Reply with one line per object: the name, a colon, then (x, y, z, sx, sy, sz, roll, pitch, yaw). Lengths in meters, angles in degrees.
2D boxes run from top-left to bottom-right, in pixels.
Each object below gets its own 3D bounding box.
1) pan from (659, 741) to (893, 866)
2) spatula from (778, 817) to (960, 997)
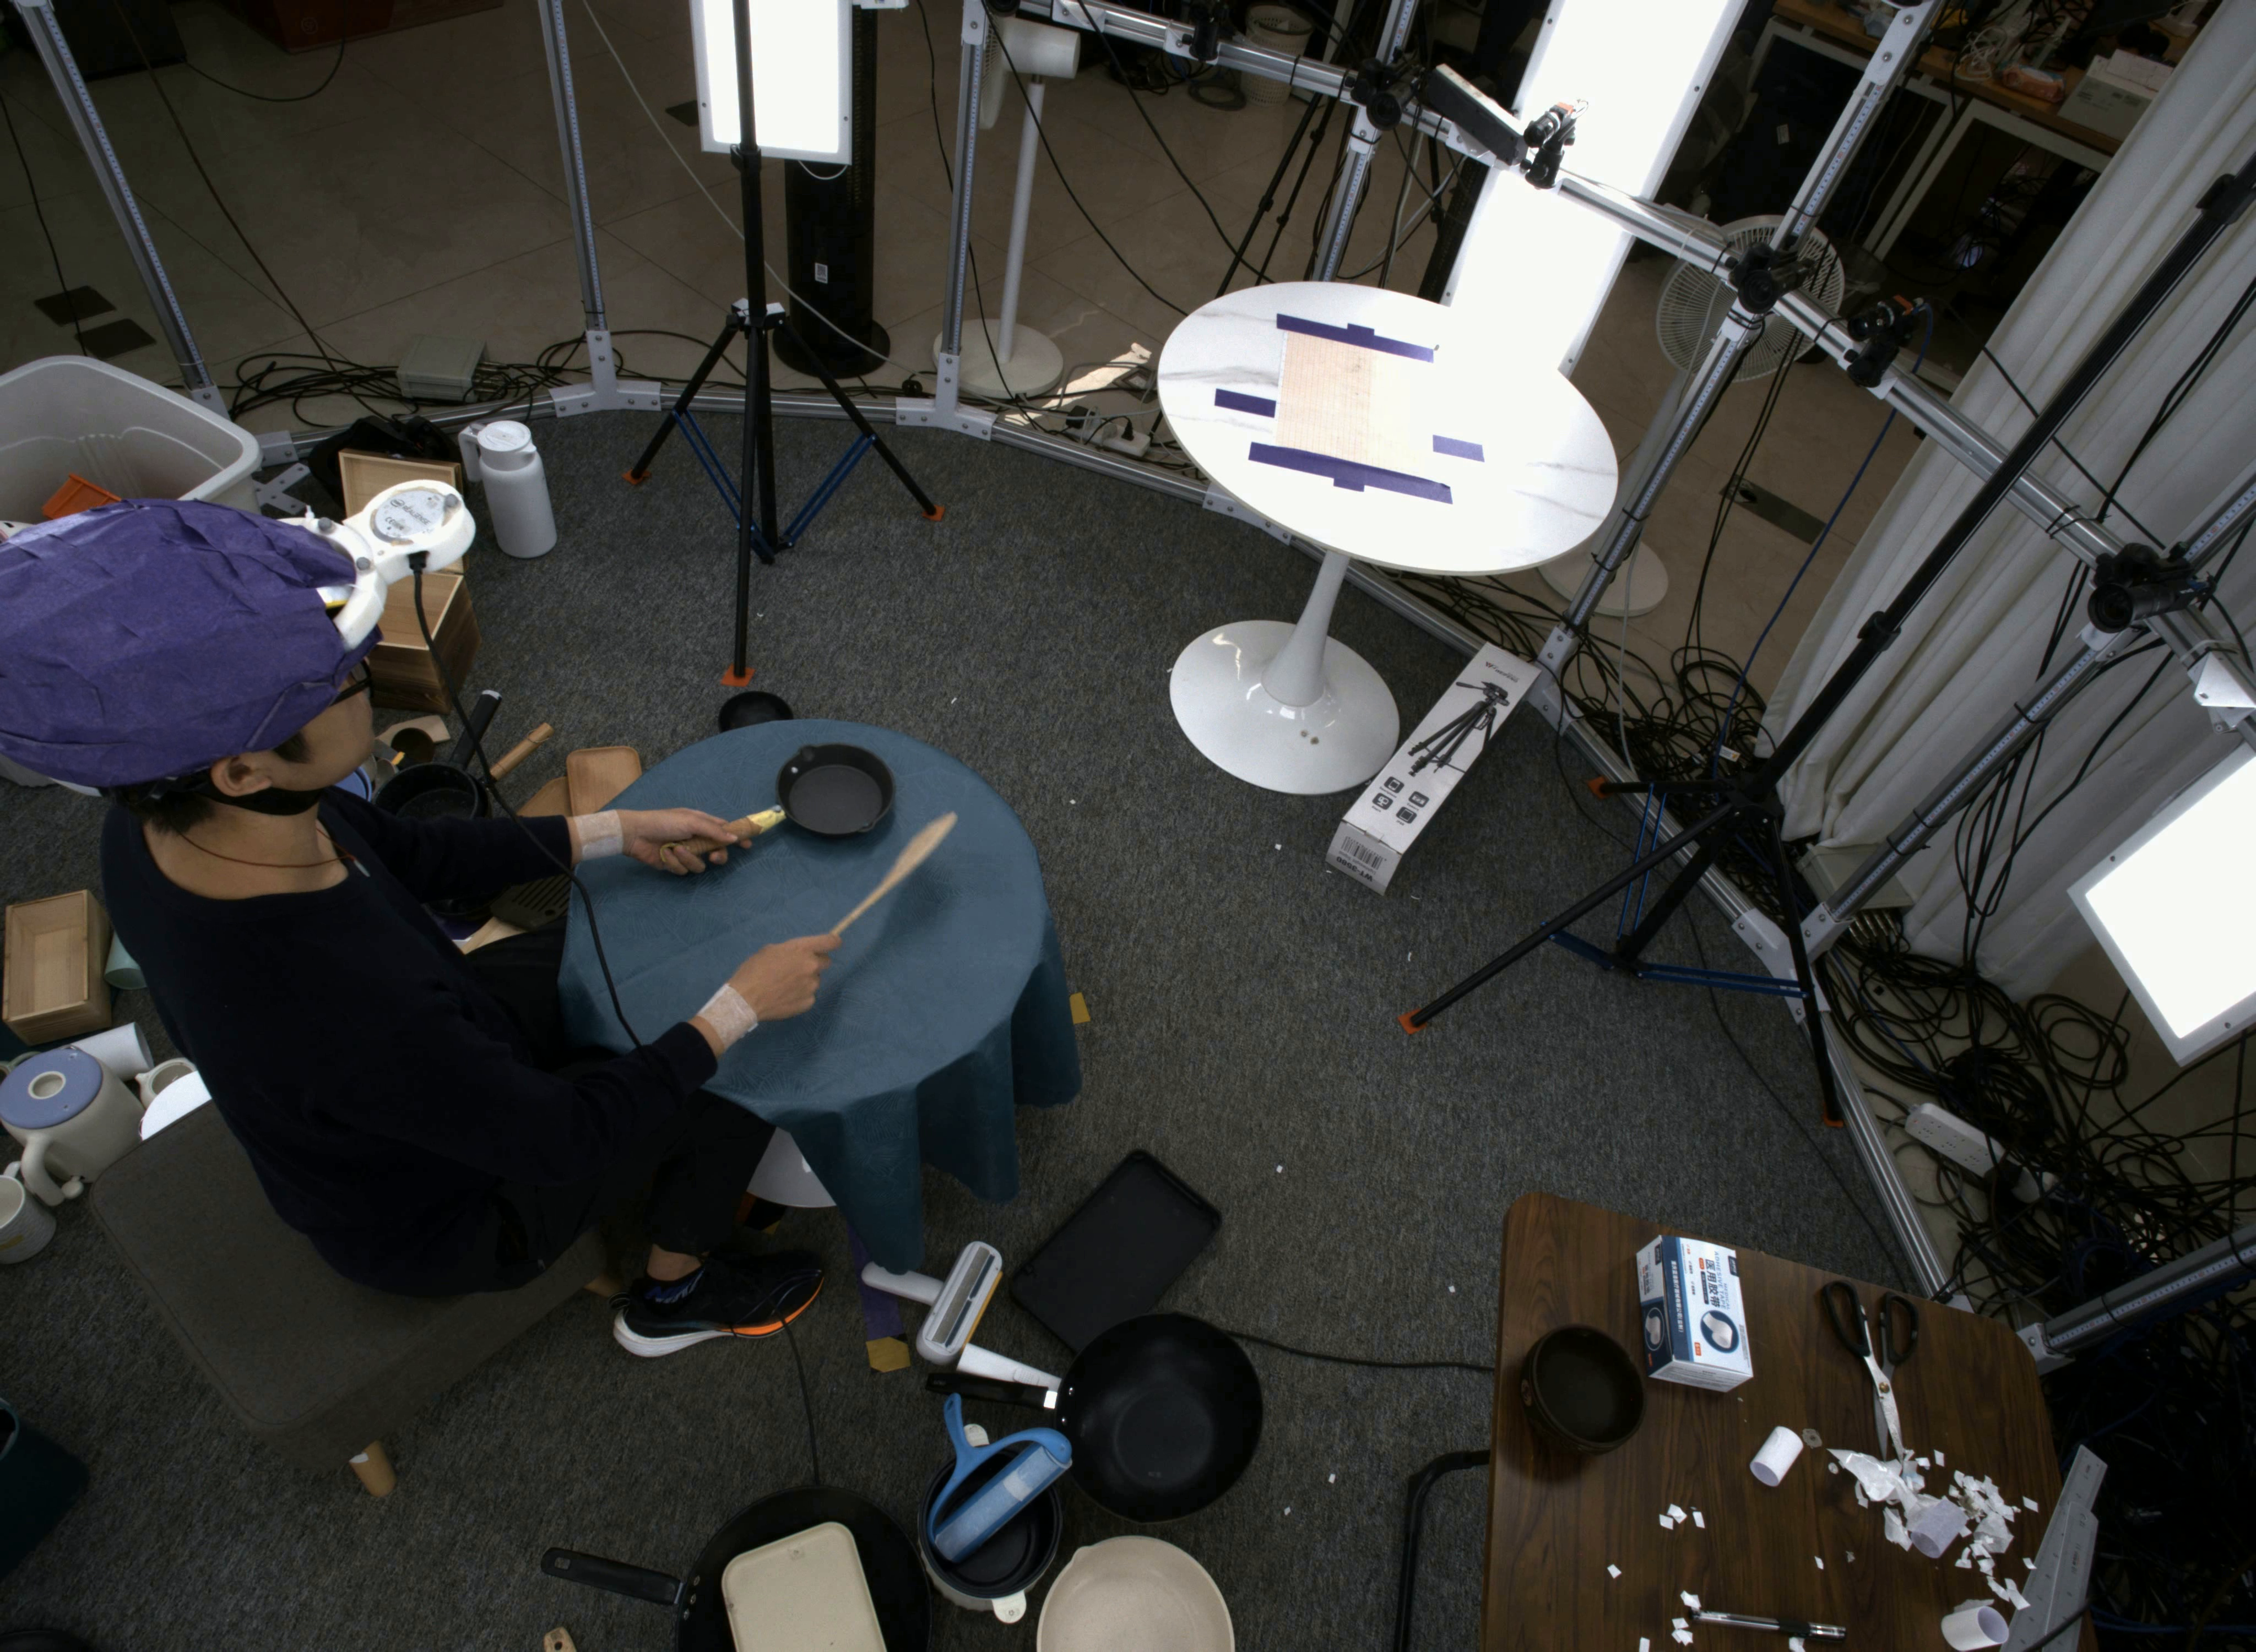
pan: (-0.458, -0.016, 1.684, 0.326, 0.050, 0.165, -25, 63, -31)
spatula: (-0.317, 0.094, 1.587, 0.017, 0.078, 0.327, 55, 49, -15)
